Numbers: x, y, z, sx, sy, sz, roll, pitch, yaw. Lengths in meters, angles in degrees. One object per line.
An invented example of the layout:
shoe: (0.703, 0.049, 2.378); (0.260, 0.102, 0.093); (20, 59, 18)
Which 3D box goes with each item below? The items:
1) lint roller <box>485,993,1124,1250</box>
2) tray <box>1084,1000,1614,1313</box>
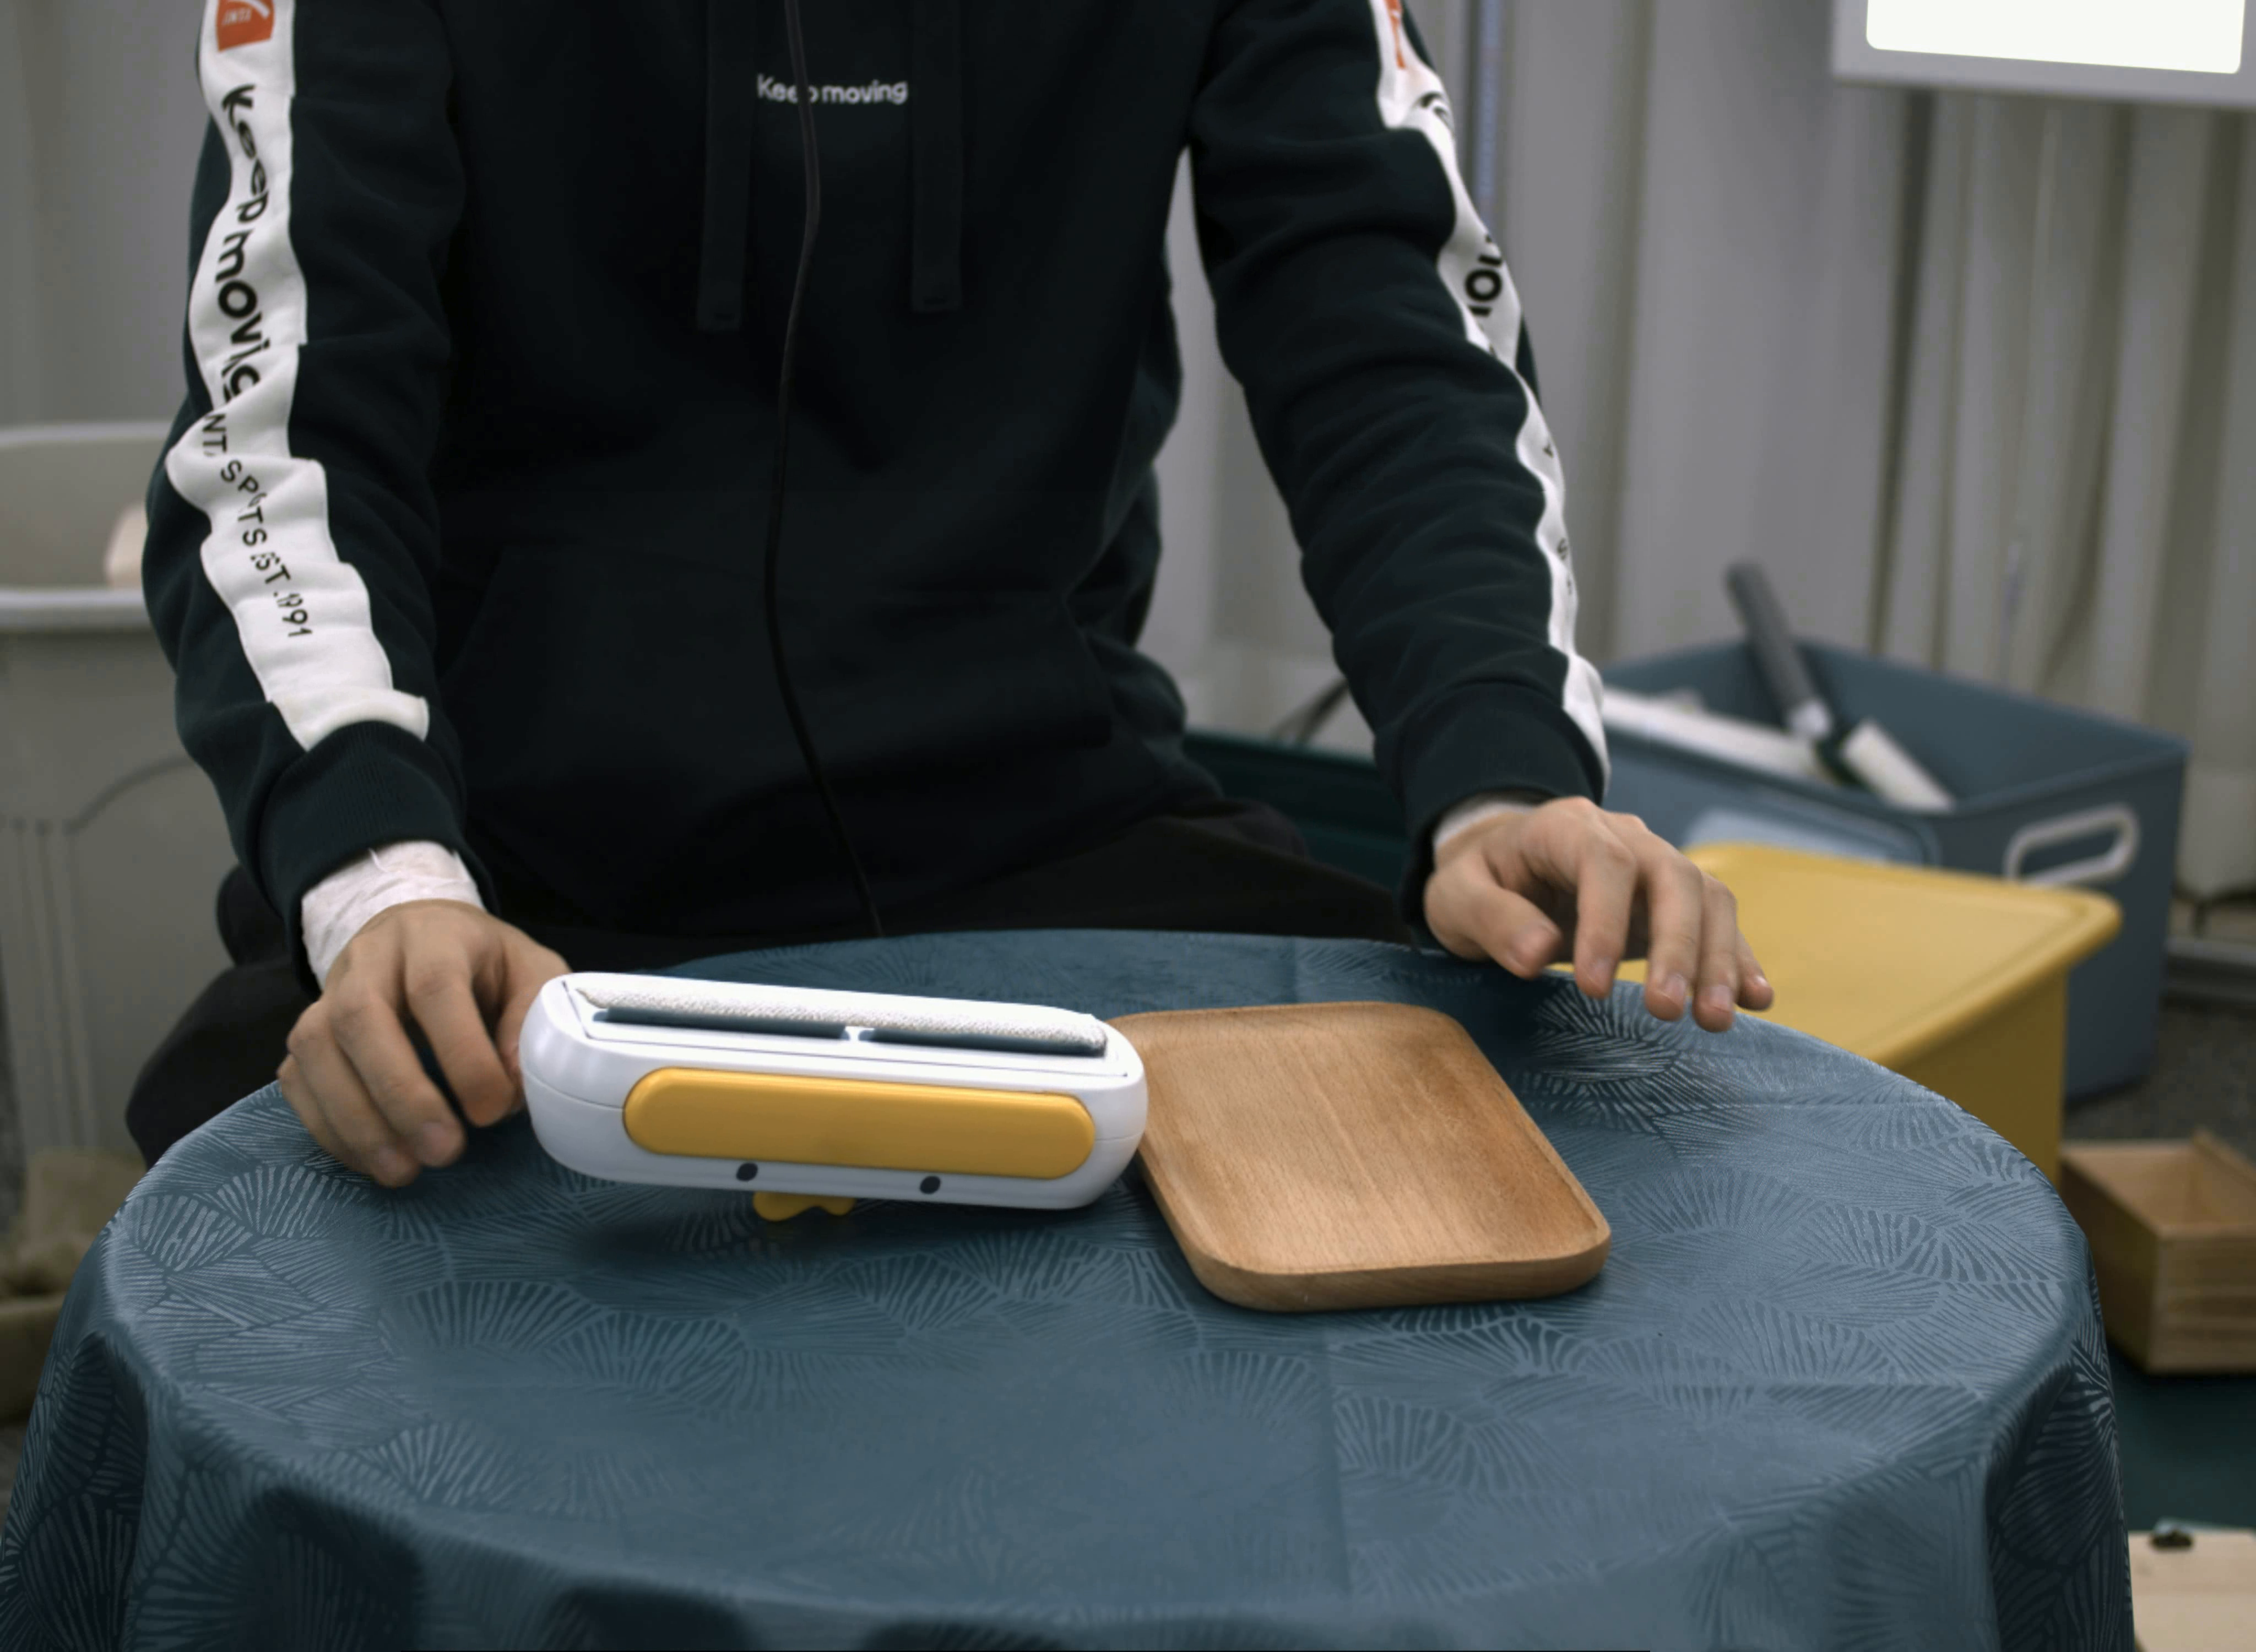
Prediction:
lint roller: (-0.110, 0.091, 1.635); (0.193, 0.074, 0.191); (3, 0, -14)
tray: (0.064, 0.100, 1.636); (0.130, 0.023, 0.248); (0, 15, -9)
